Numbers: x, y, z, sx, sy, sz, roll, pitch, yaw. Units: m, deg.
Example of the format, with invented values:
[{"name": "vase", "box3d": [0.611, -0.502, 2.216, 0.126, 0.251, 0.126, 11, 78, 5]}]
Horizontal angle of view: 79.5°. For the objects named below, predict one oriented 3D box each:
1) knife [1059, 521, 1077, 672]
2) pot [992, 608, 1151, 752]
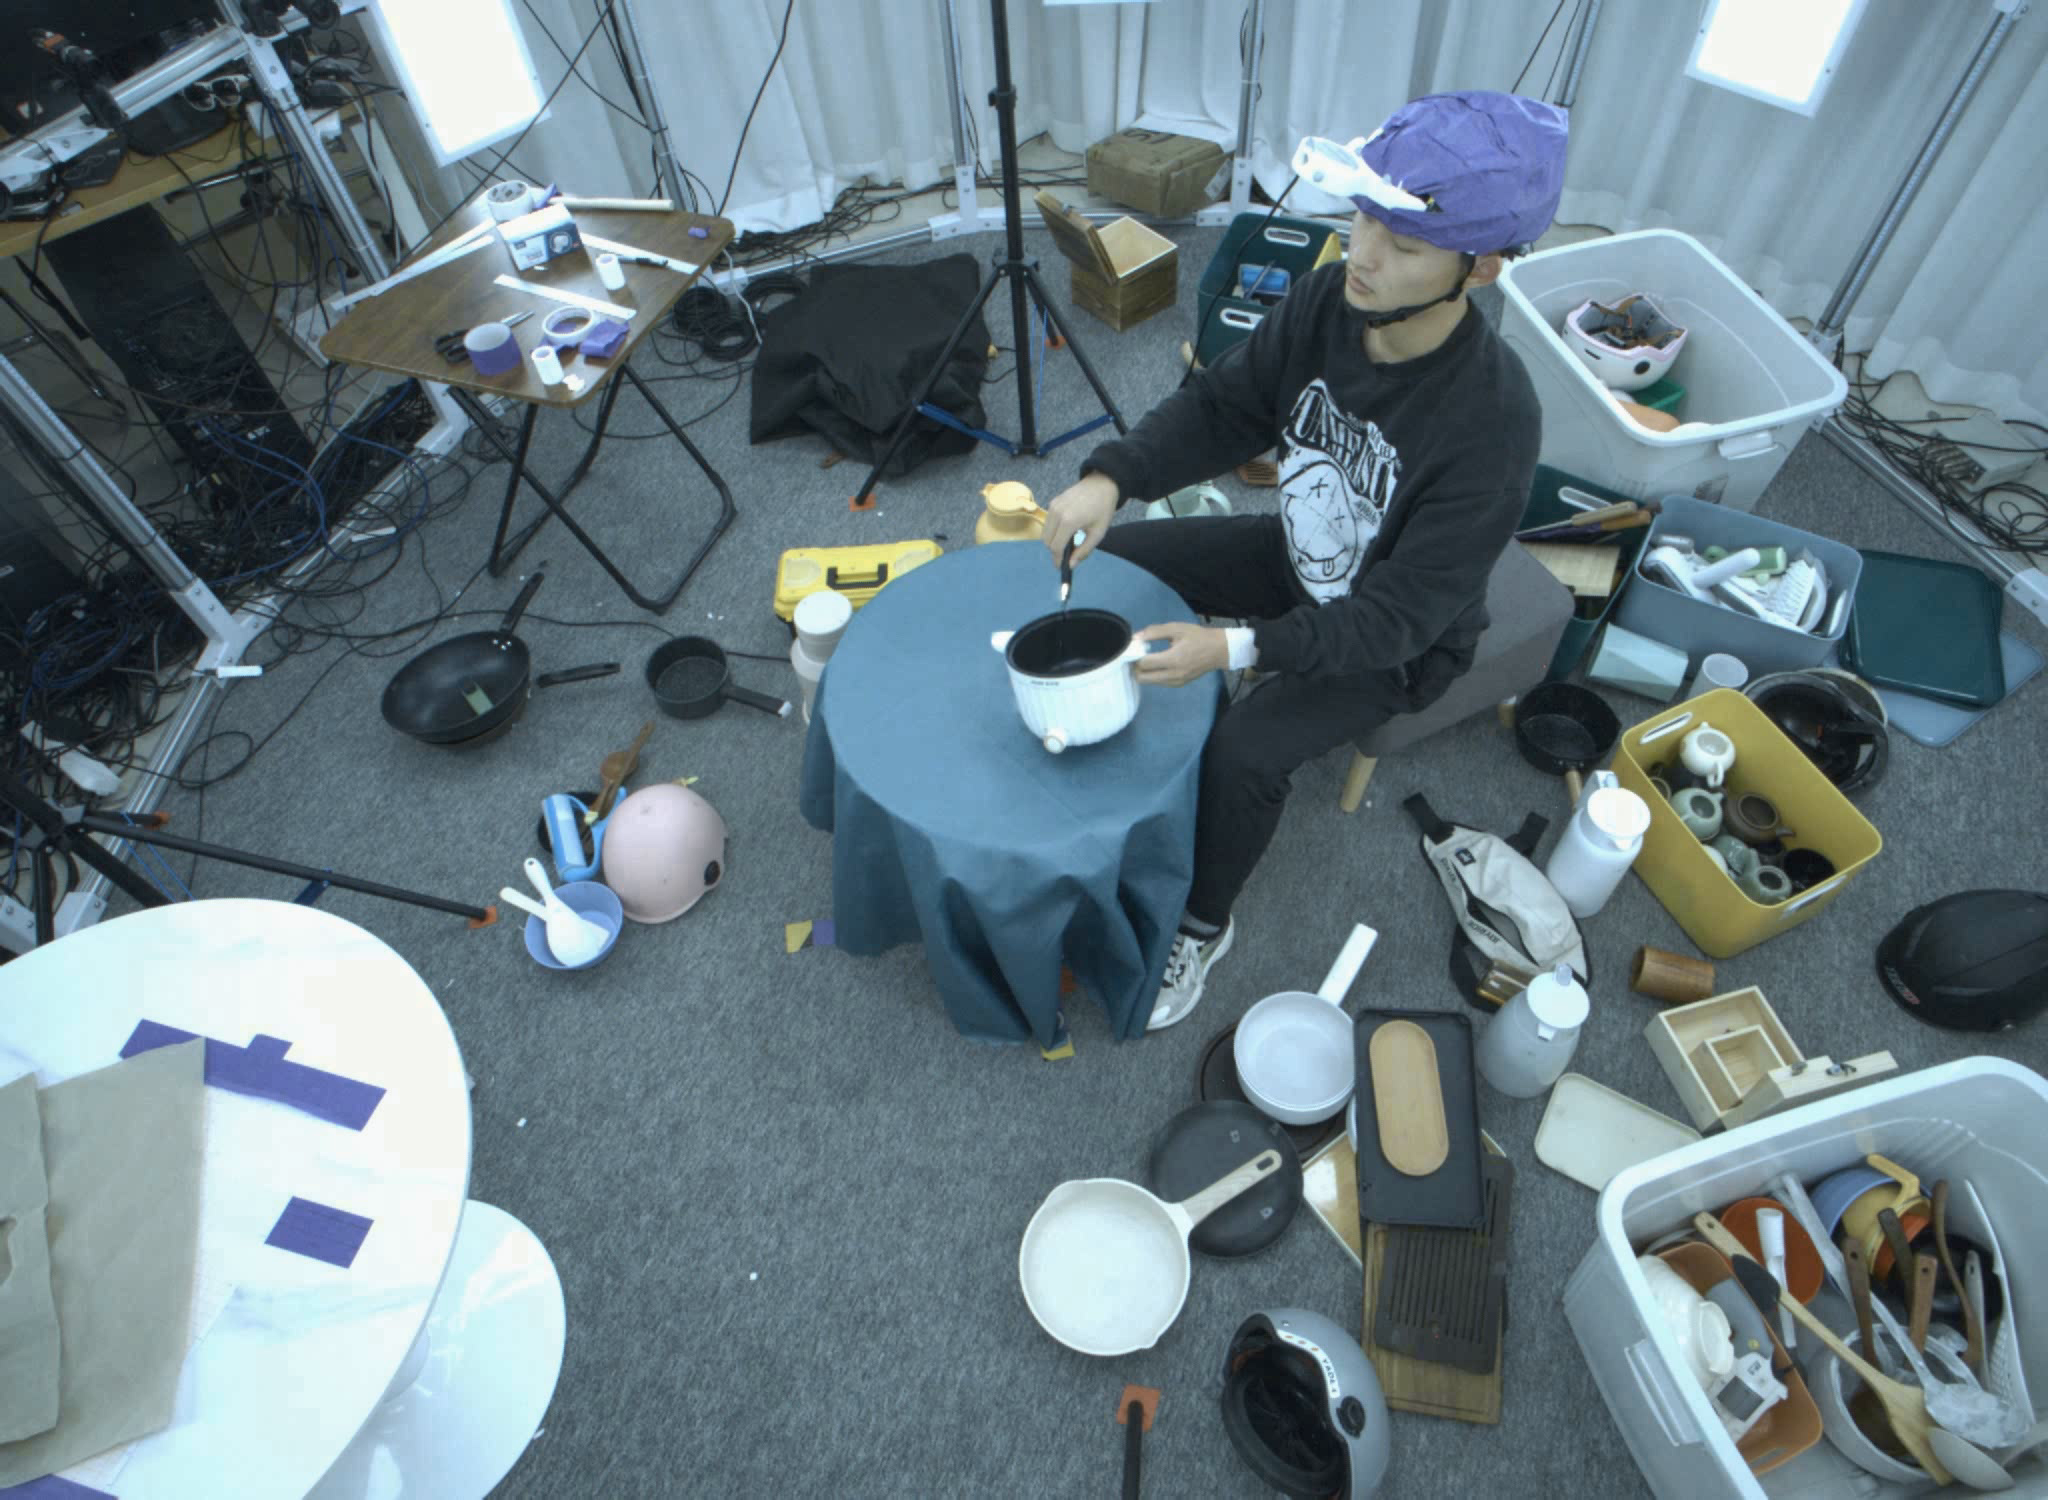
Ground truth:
[{"name": "knife", "box3d": [0.060, -0.214, 1.756, 0.017, 0.226, 0.026, 5, 15, 1]}, {"name": "pot", "box3d": [0.073, -0.095, 1.741, 0.236, 0.144, 0.191, 5, 35, 25]}]
